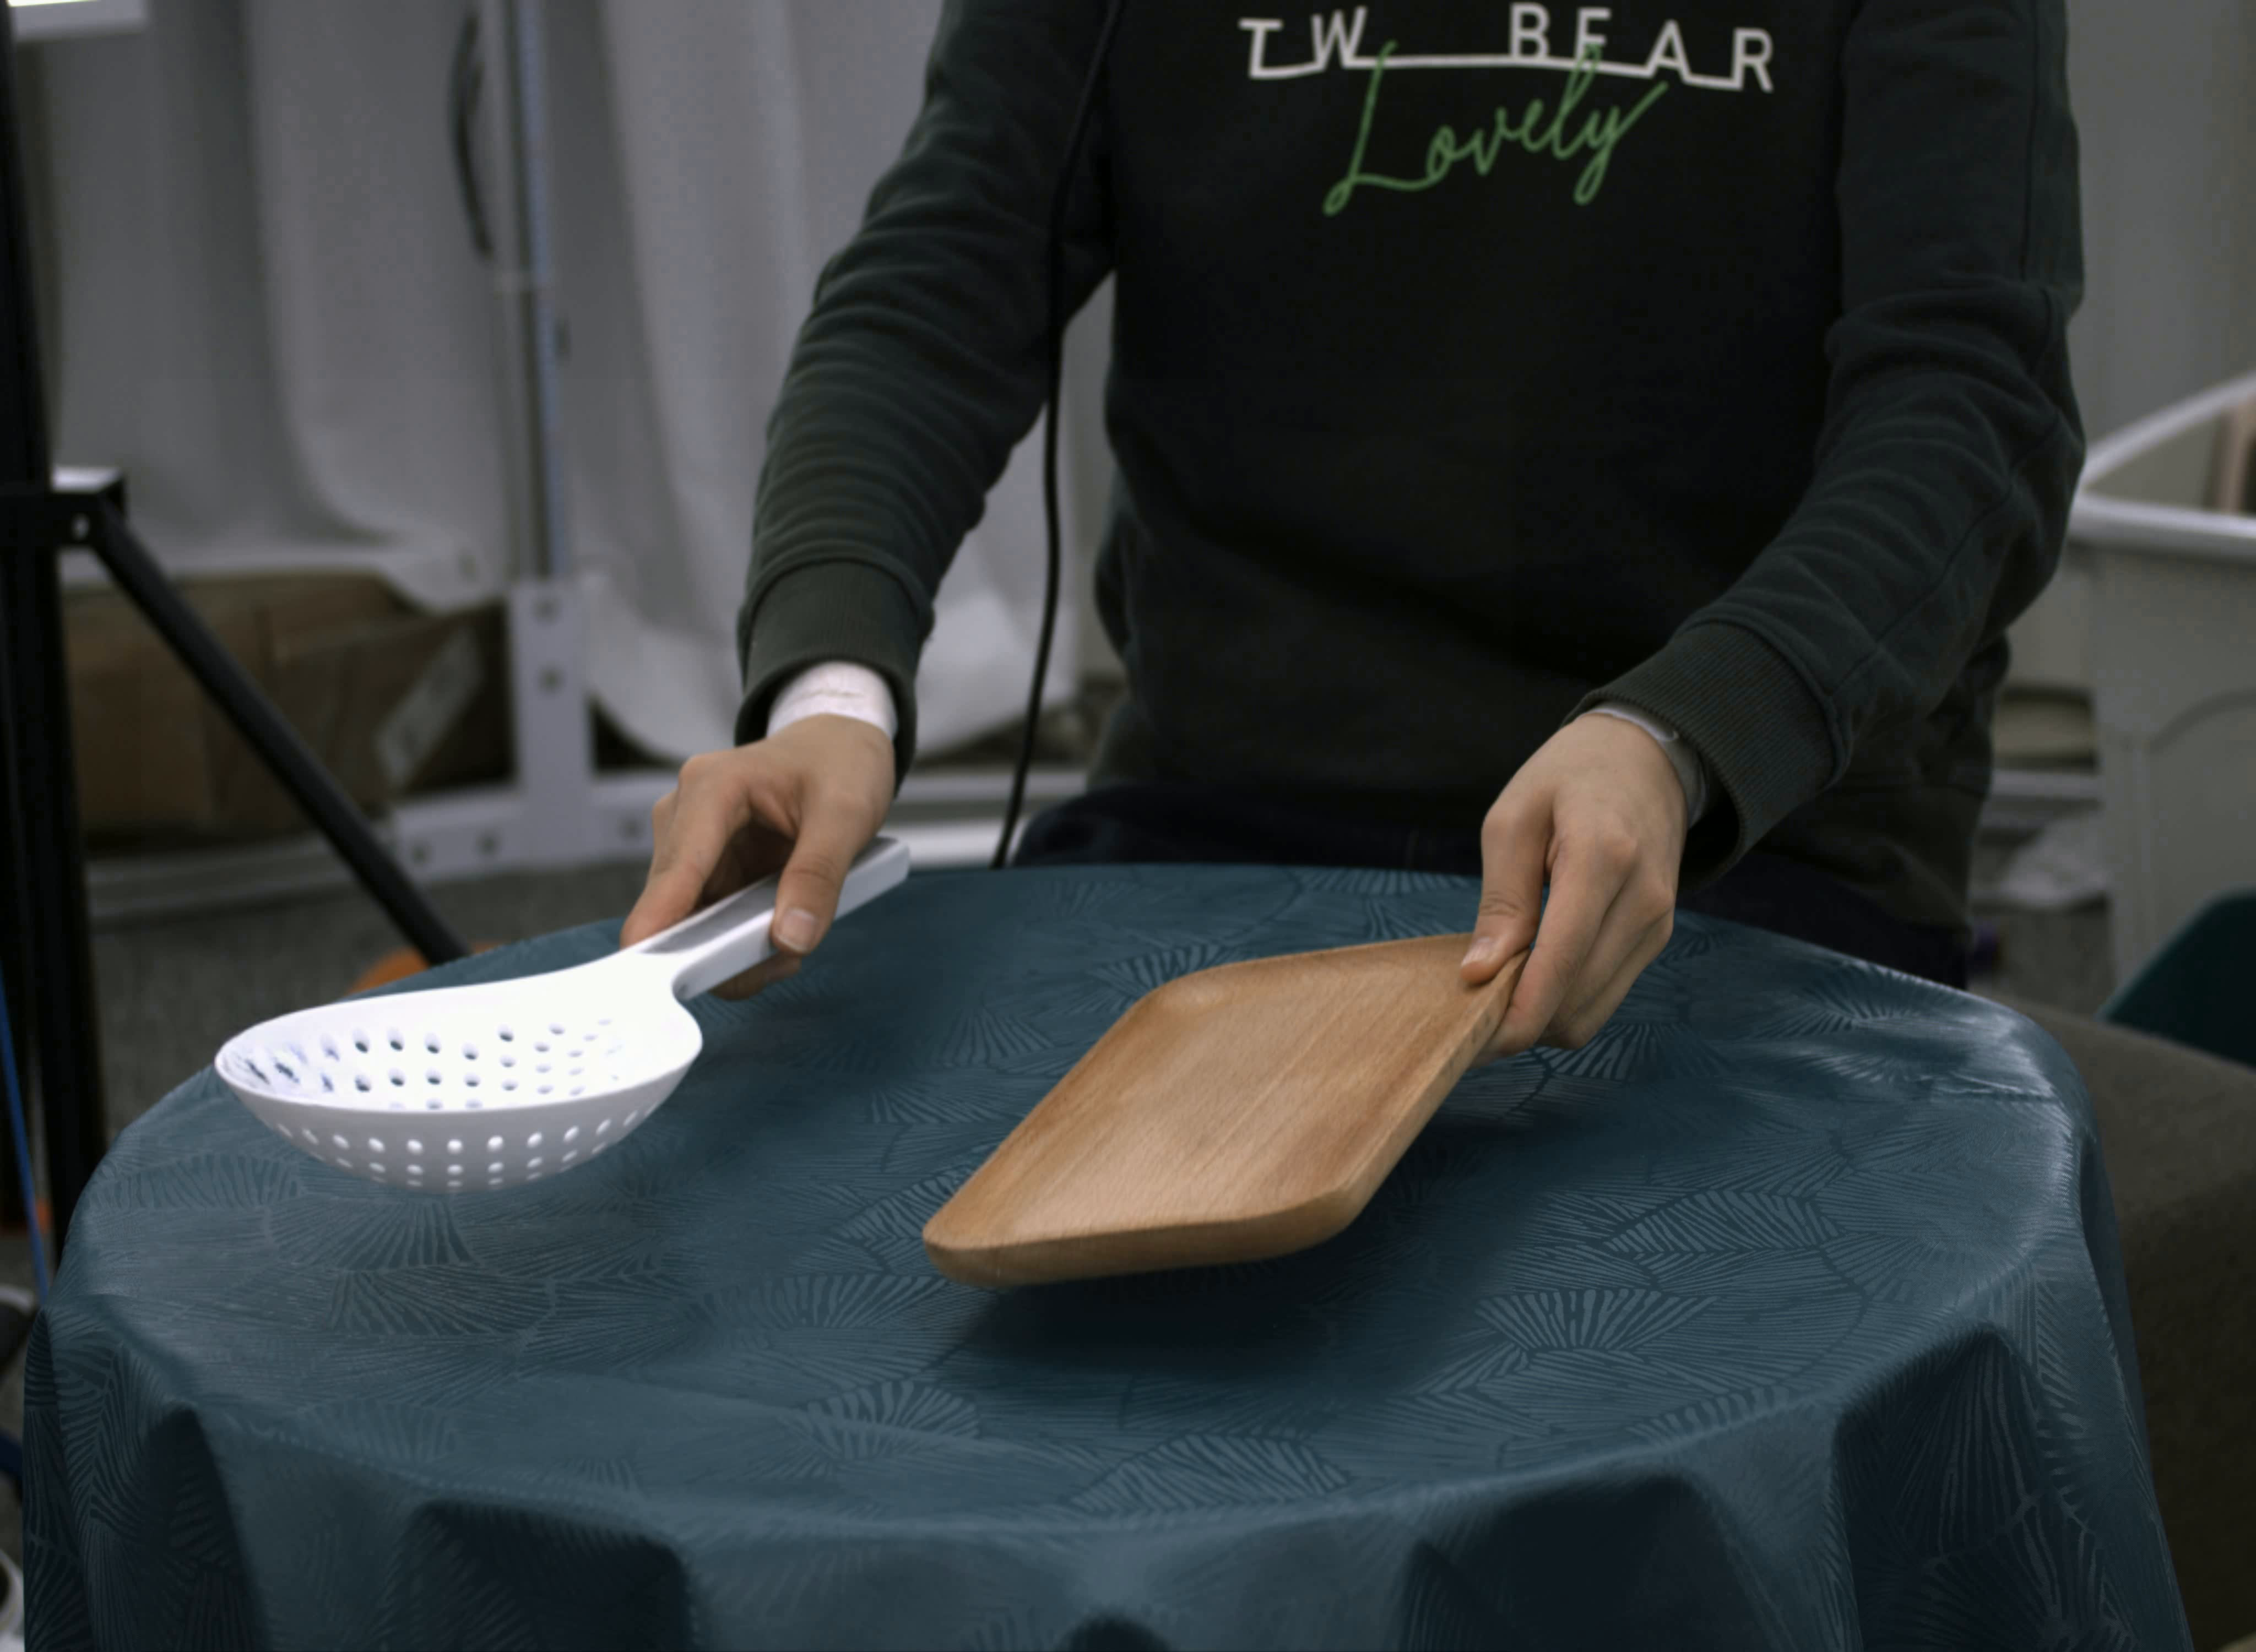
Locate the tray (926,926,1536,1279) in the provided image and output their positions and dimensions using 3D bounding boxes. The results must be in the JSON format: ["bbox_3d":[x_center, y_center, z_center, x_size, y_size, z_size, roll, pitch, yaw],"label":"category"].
[{"bbox_3d":[0.035,0.077,1.522,0.132,0.023,0.248,-6,14,20],"label":"tray"}]

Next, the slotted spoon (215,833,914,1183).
[{"bbox_3d":[-0.147,0.045,1.598,0.138,0.046,0.345,4,18,22],"label":"slotted spoon"}]
